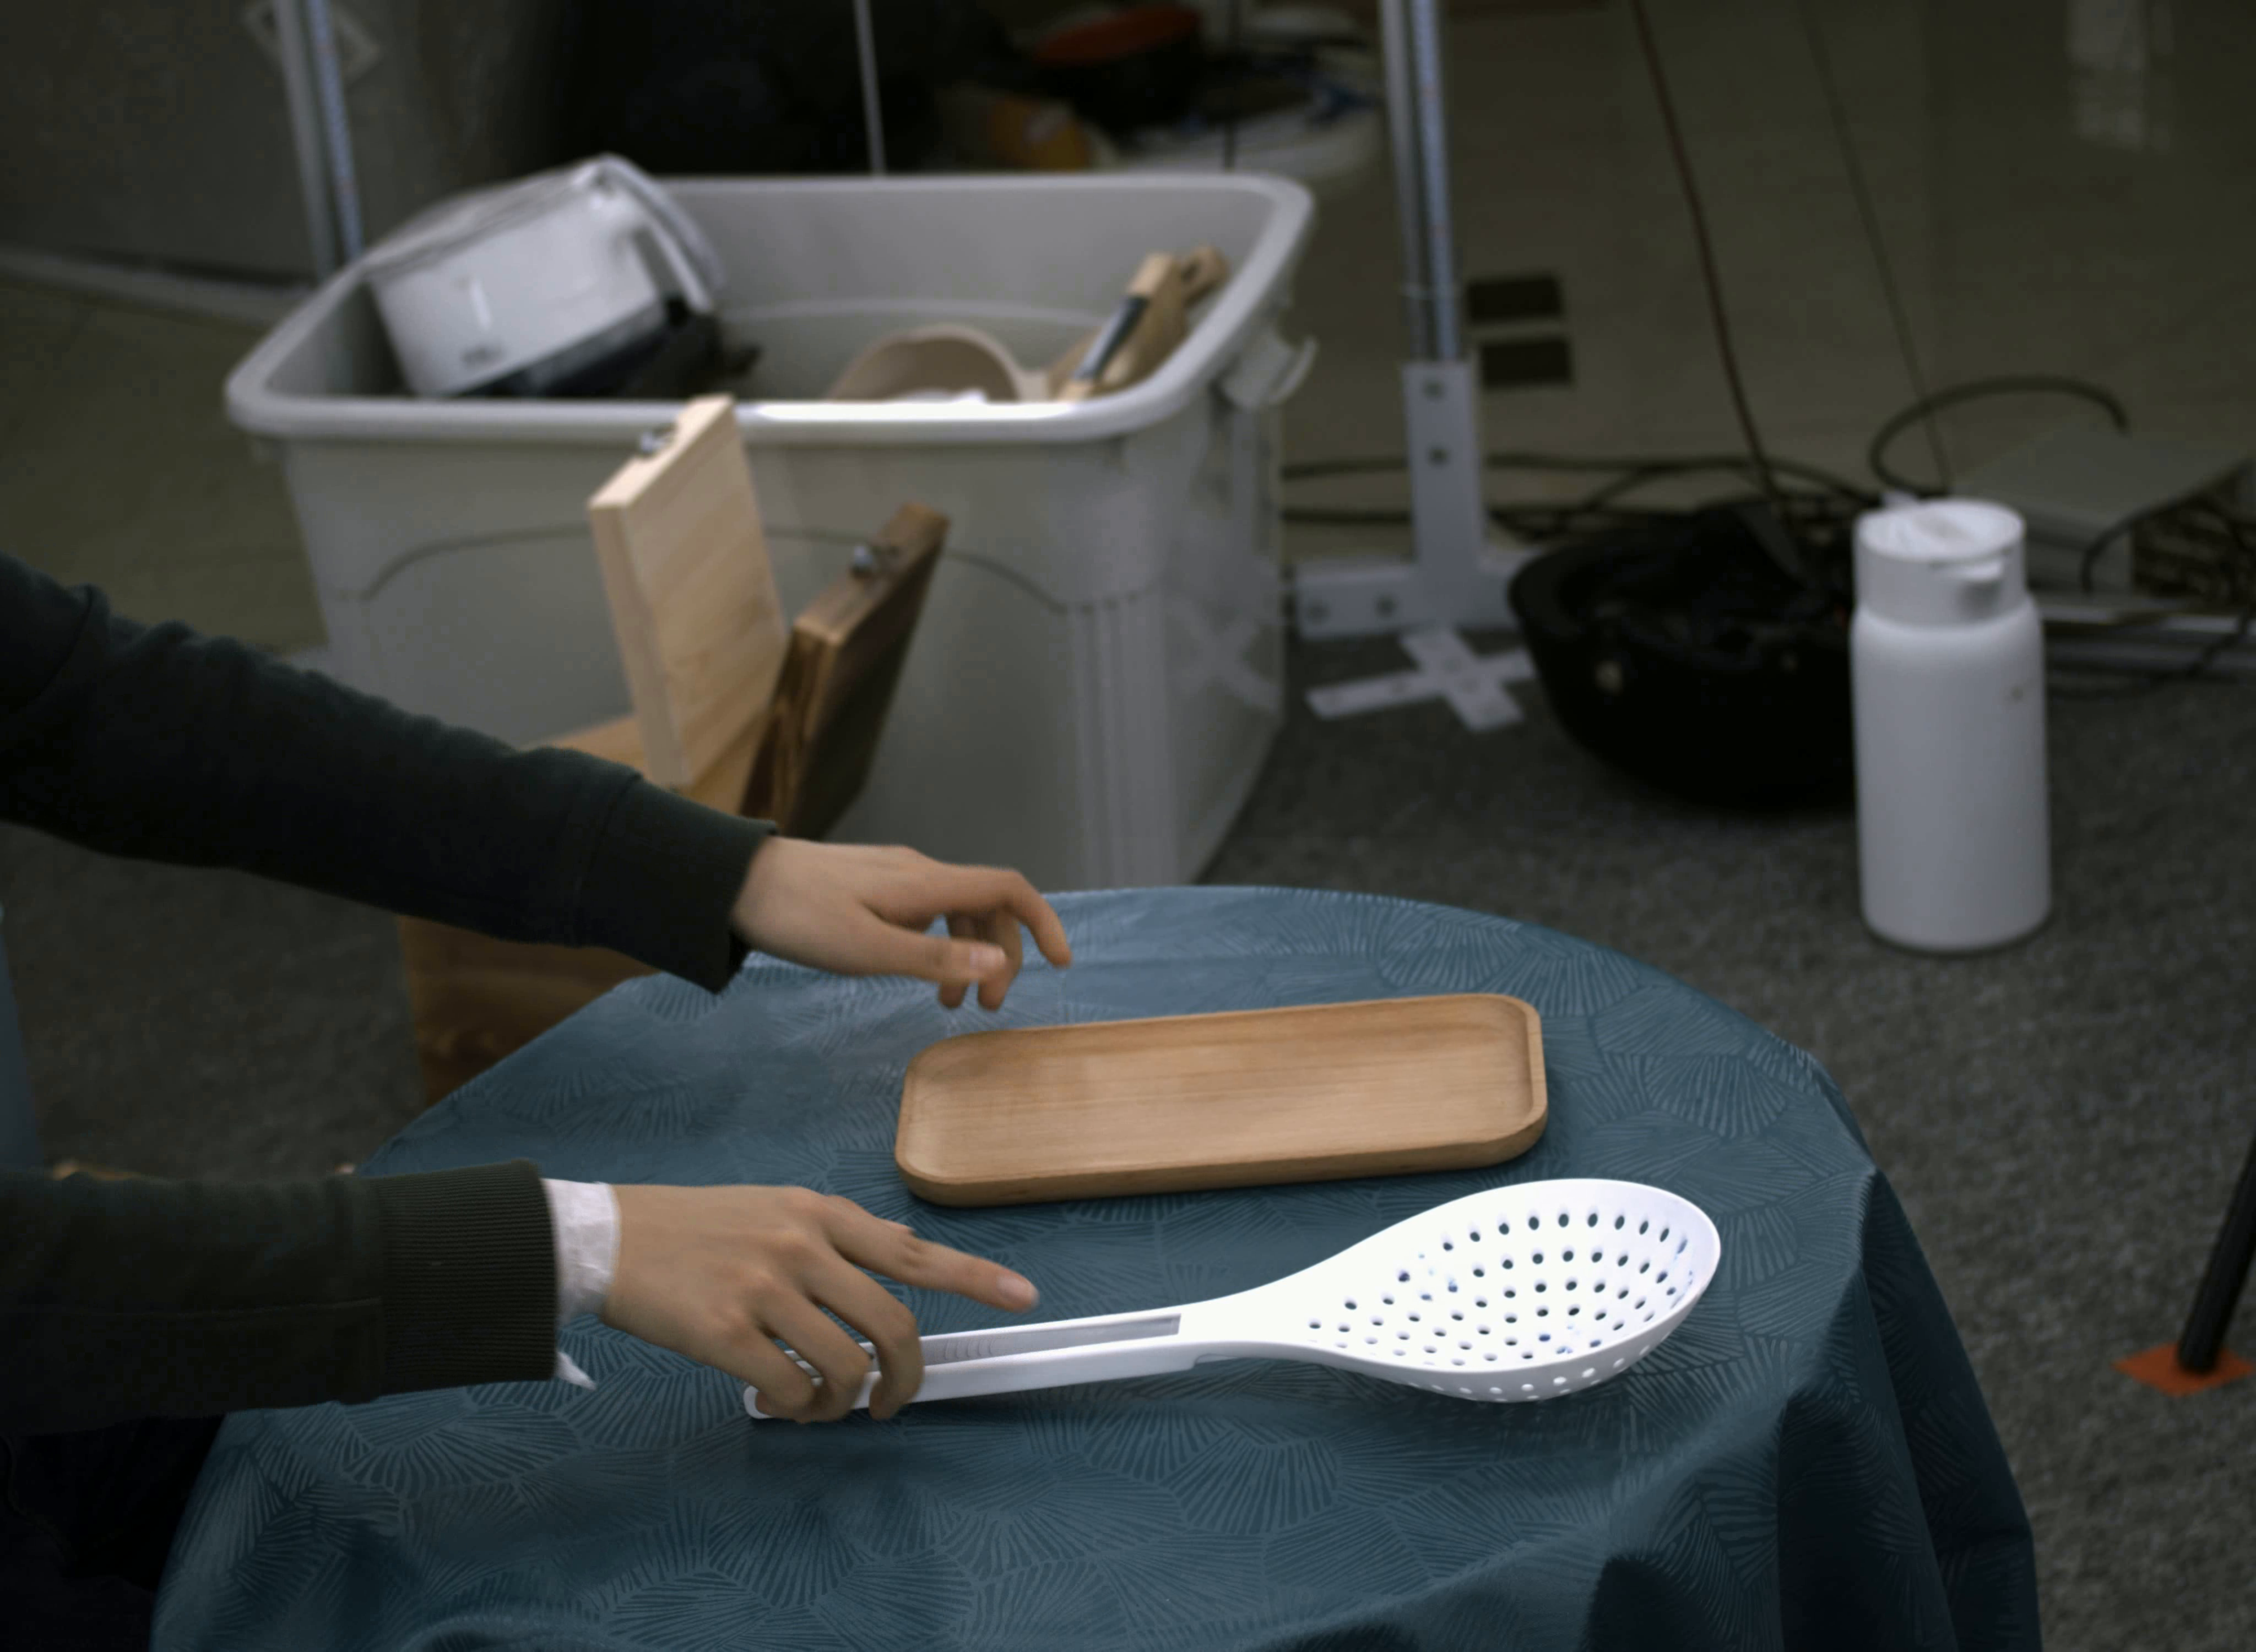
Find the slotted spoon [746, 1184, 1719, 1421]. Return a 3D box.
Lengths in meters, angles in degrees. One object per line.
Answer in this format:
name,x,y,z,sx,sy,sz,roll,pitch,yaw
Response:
slotted spoon,0.035,0.178,2.005,0.349,0.046,0.134,-4,22,8

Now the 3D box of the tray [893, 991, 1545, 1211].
tray,0.035,0.107,2.194,0.250,0.023,0.129,-5,23,5
